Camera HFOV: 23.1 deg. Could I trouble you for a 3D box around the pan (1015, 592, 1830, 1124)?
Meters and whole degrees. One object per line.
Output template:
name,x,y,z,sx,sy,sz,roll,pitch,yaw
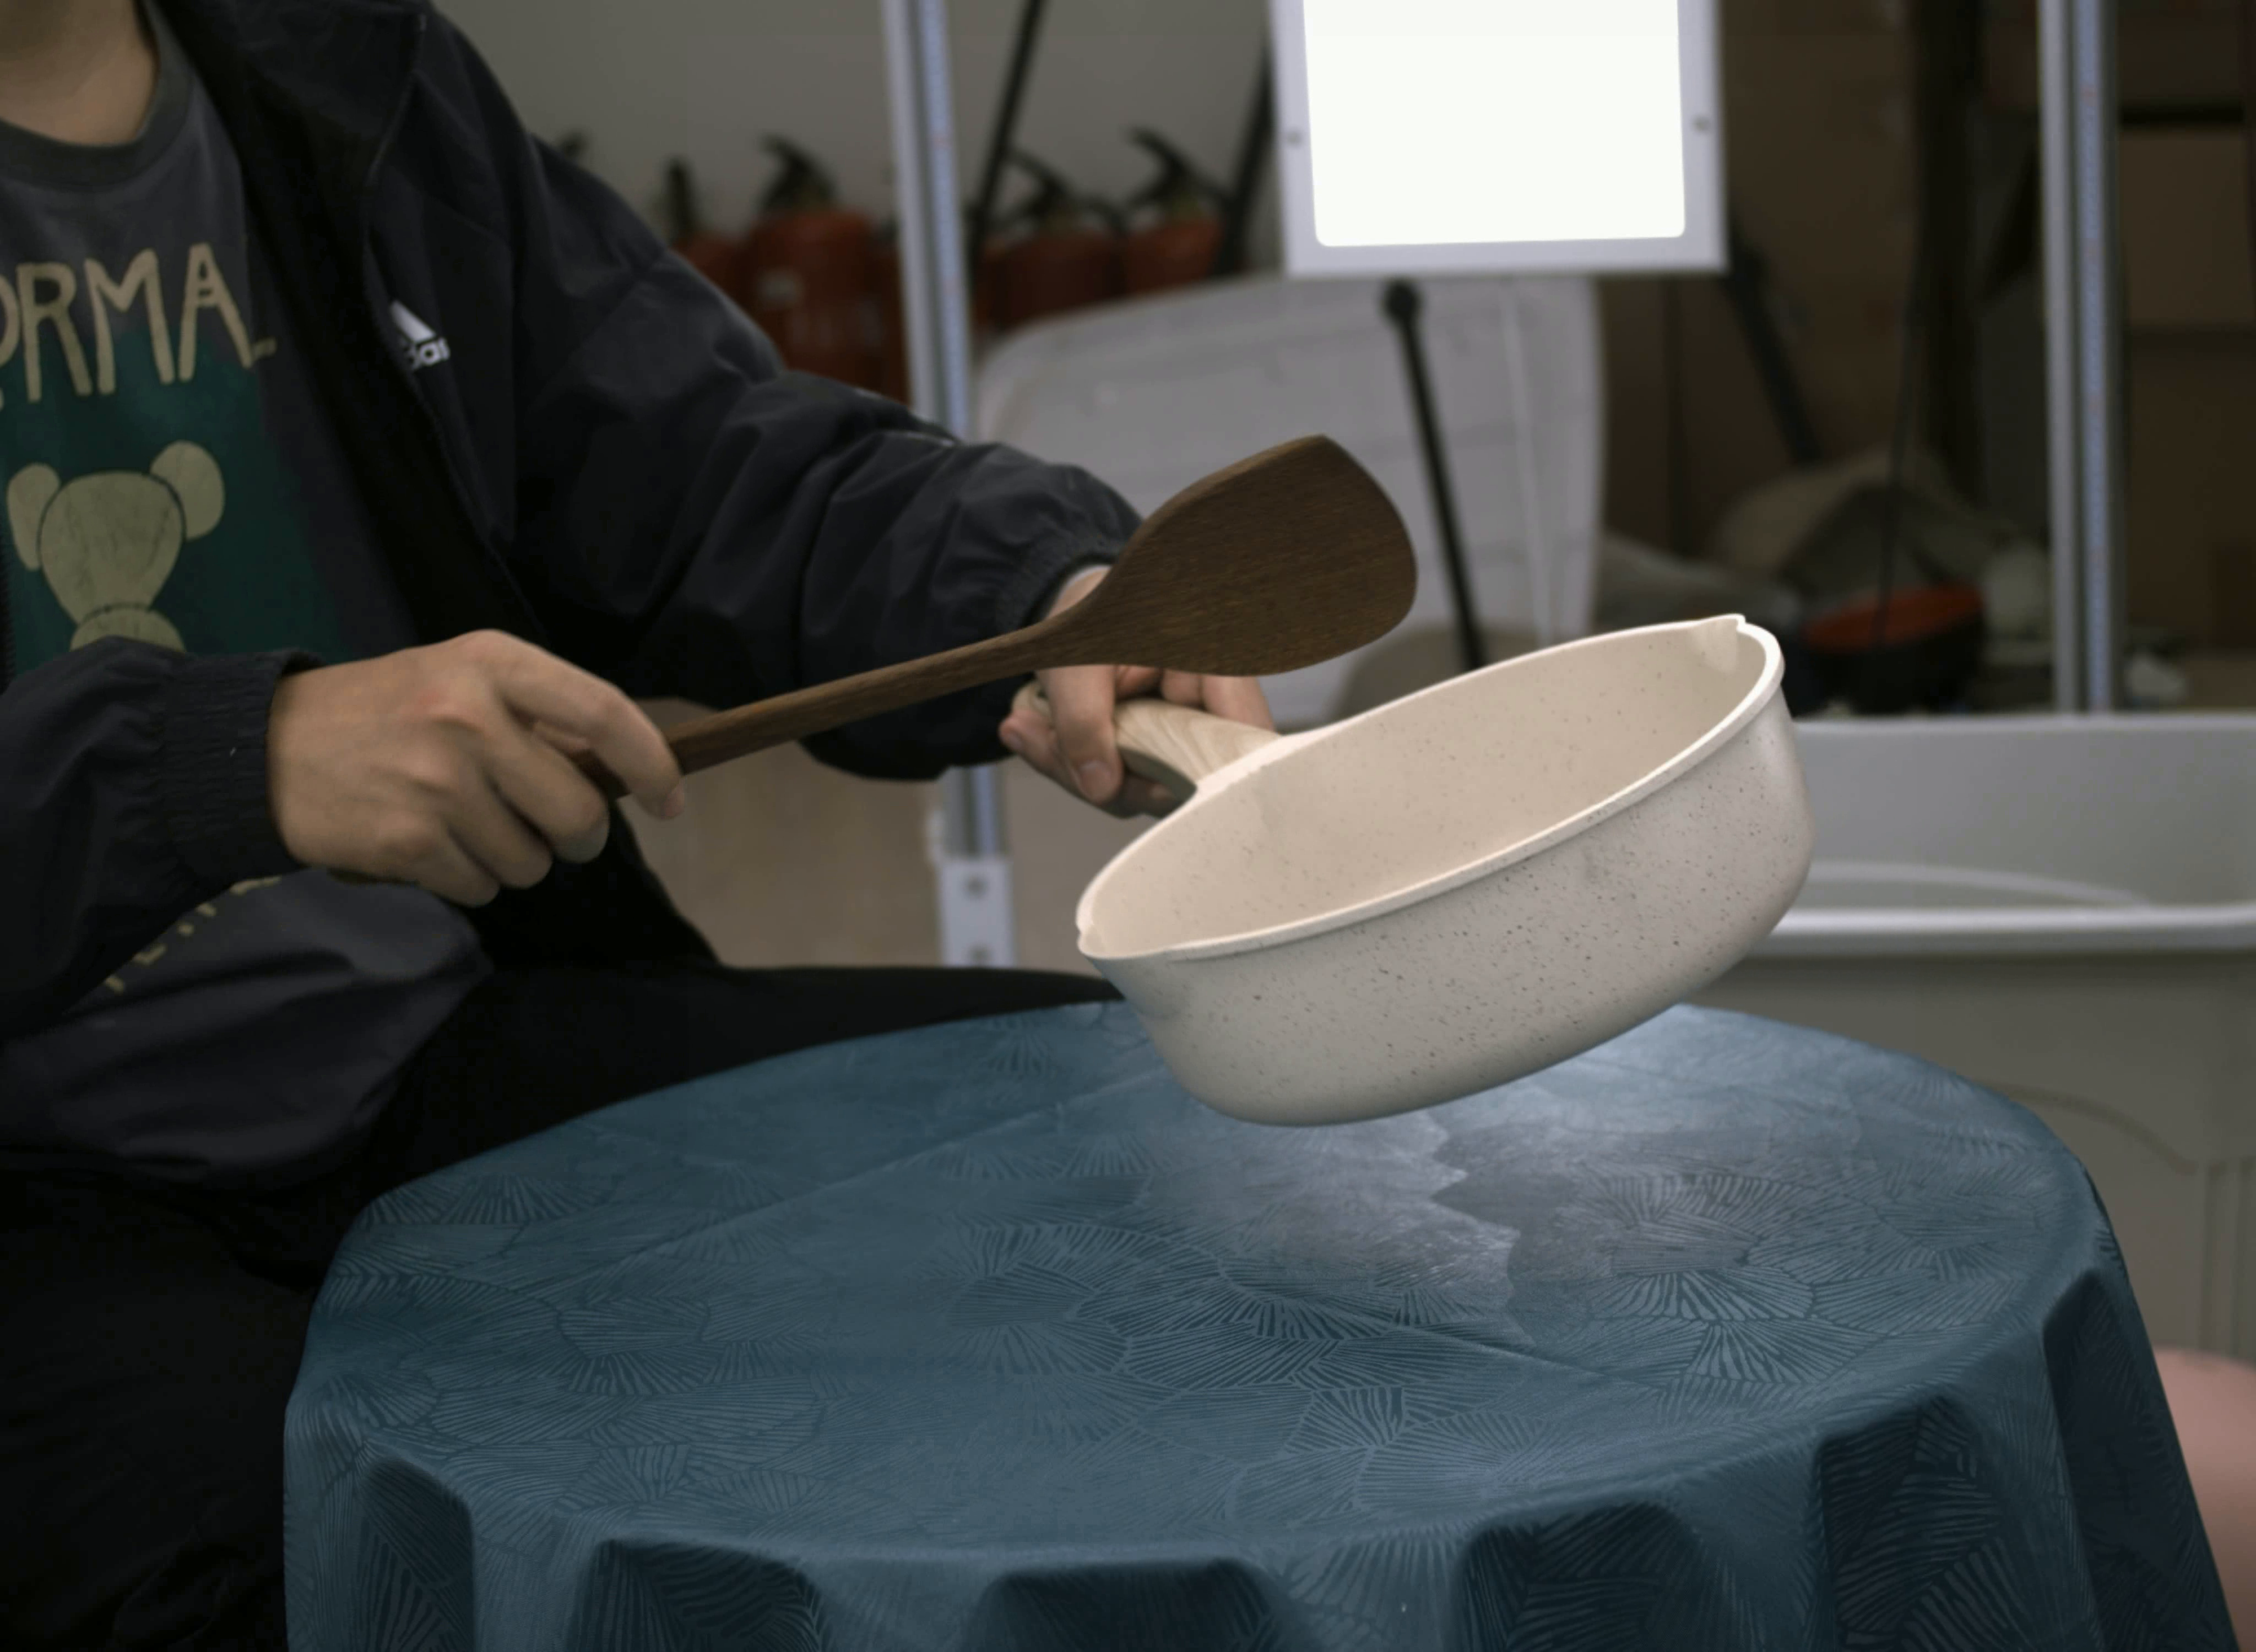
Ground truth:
pan,0.077,0.005,1.911,0.259,0.102,0.442,-30,15,-19

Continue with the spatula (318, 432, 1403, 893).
spatula,-0.095,-0.041,1.812,0.390,0.095,0.016,-17,45,17
